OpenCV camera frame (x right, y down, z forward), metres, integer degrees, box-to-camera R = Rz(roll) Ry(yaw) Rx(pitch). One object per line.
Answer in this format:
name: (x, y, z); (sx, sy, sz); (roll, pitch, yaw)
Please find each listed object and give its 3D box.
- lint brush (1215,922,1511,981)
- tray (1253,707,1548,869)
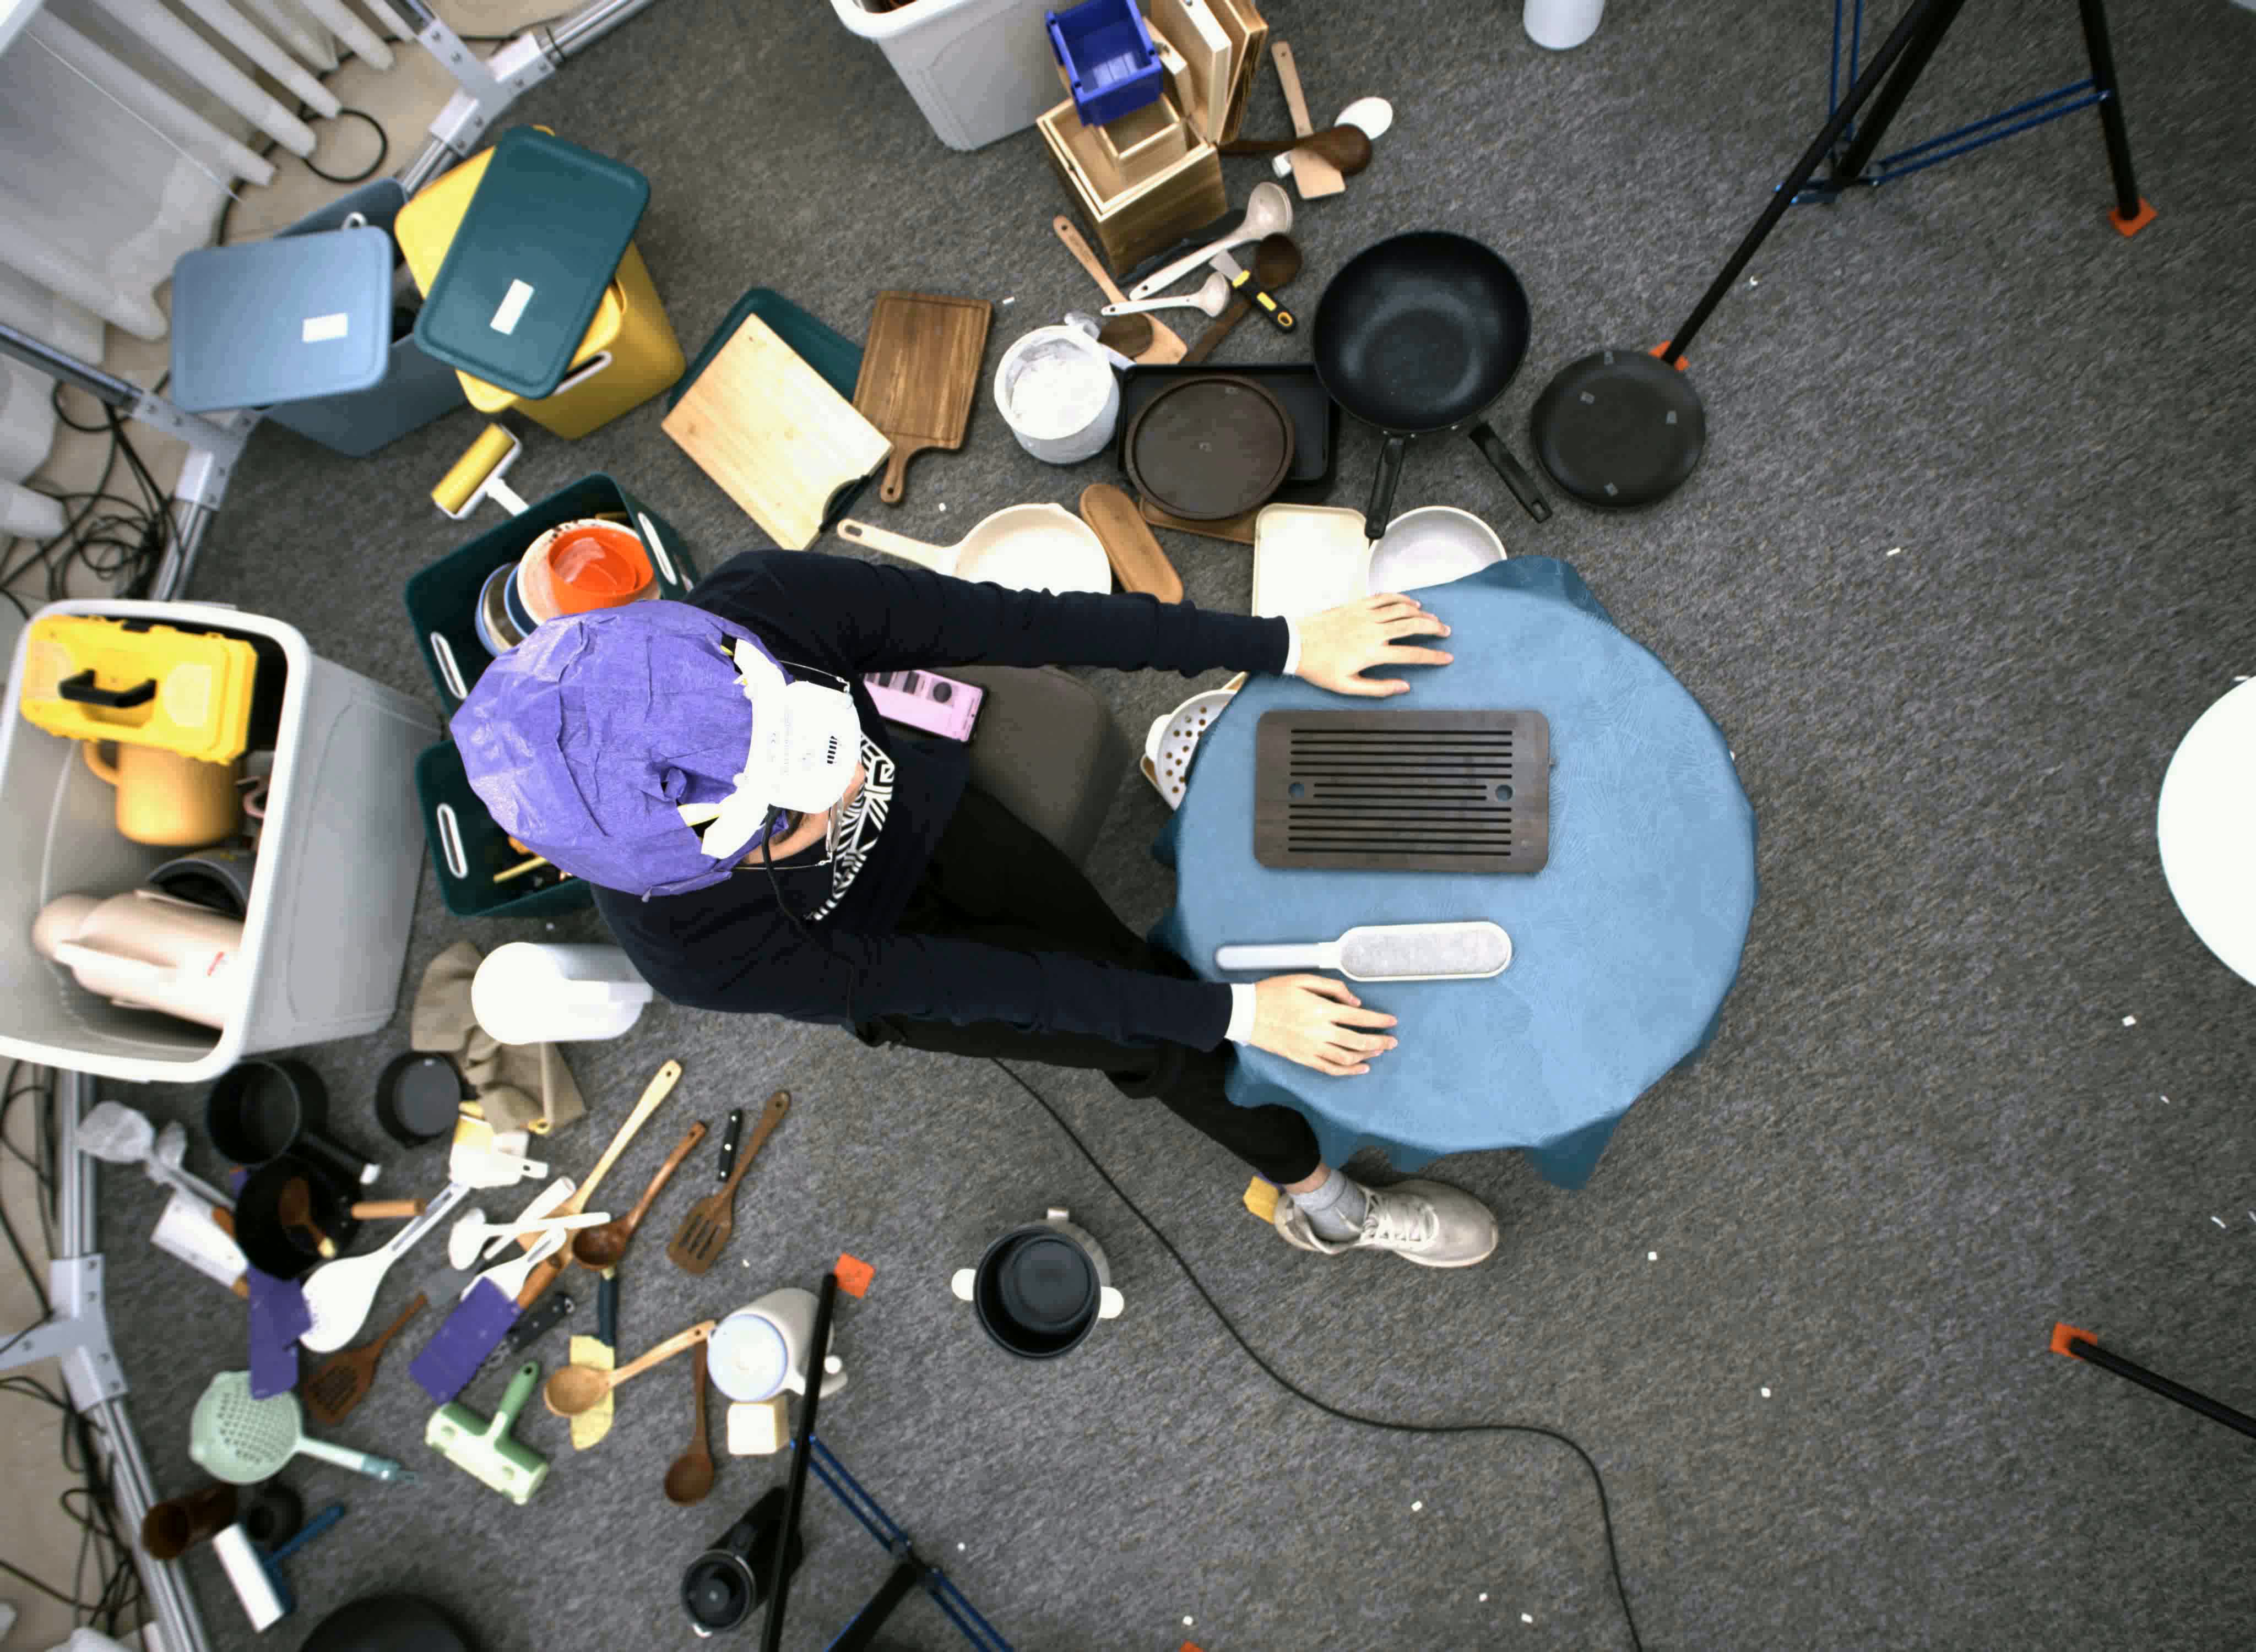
lint brush: (0.244, 0.131, 1.448); (0.310, 0.021, 0.060); (-3, 91, 11)
tray: (0.286, -0.042, 1.455); (0.307, 0.018, 0.169); (0, 87, 11)
